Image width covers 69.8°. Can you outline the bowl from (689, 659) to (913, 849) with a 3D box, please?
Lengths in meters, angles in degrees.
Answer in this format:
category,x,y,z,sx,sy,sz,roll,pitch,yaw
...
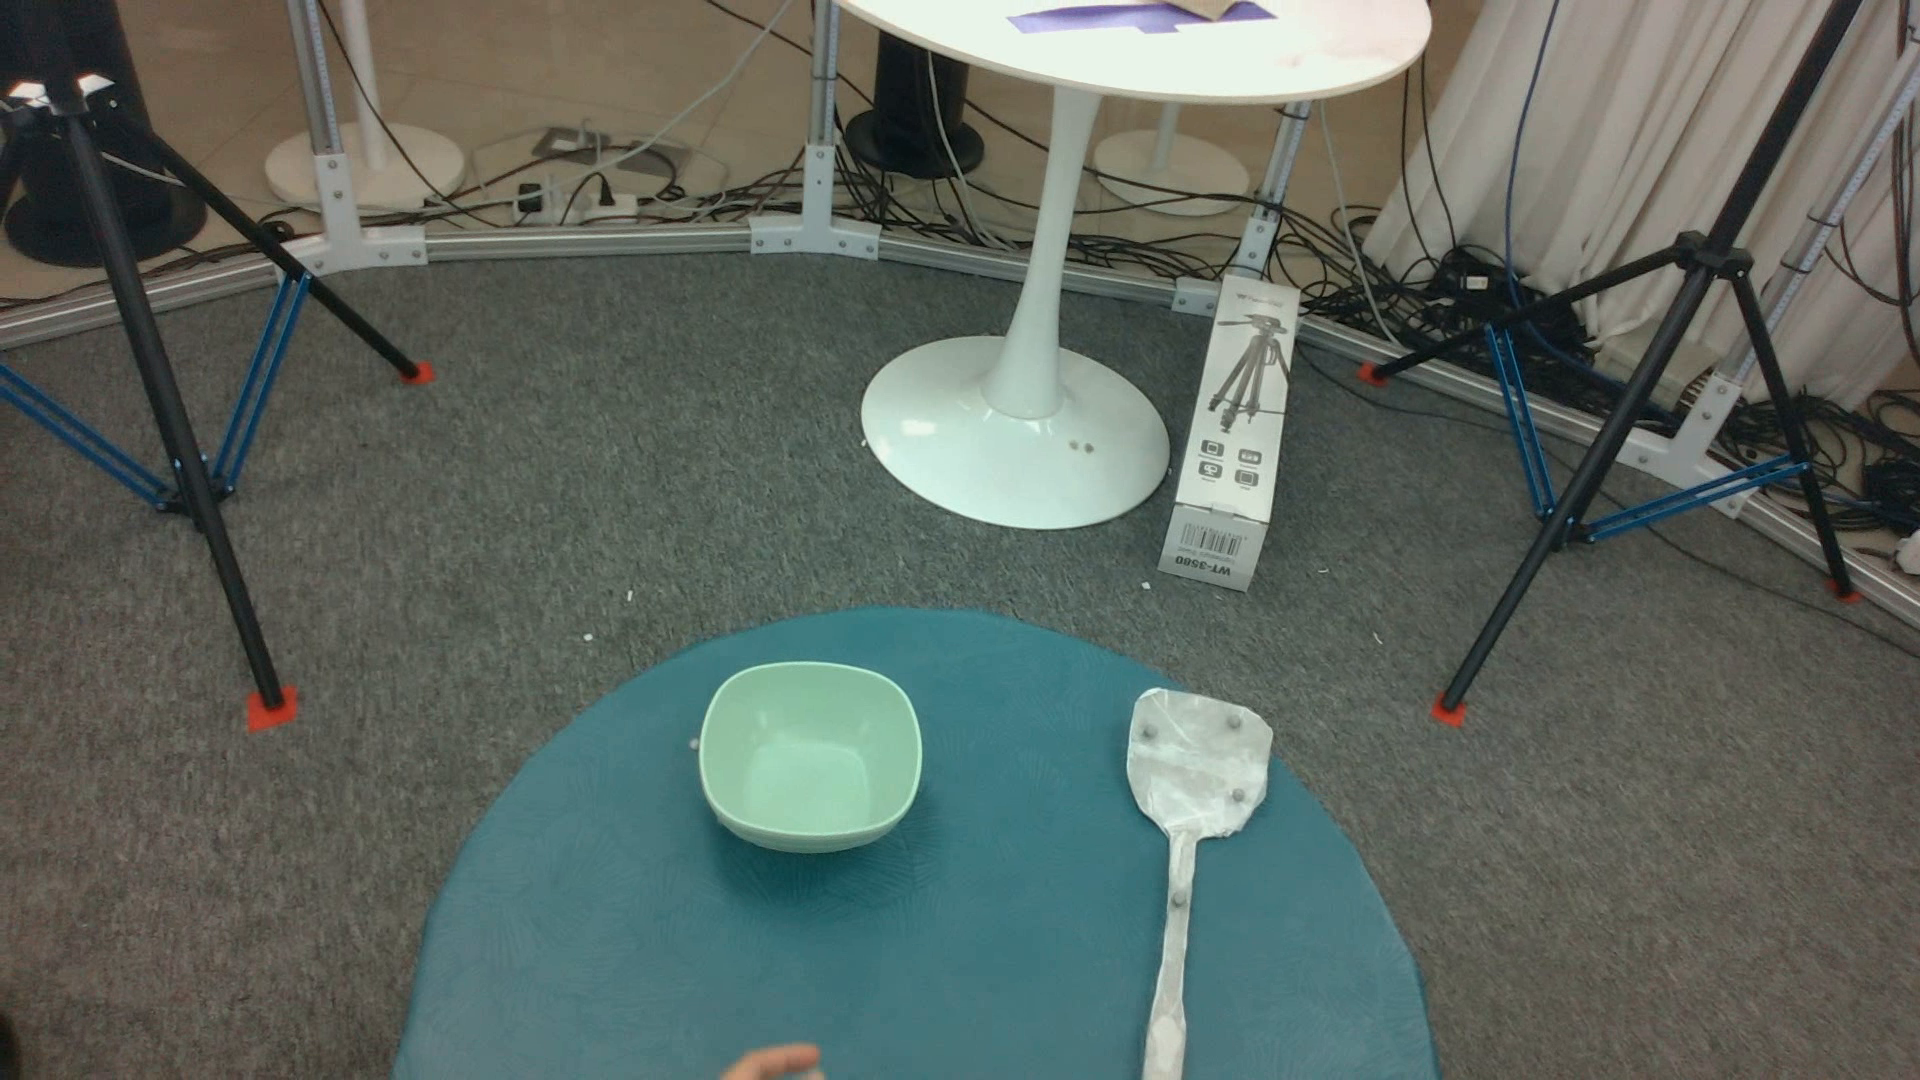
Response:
category,x,y,z,sx,sy,sz,roll,pitch,yaw
bowl,-0.101,0.145,0.878,0.151,0.058,0.152,4,41,-3

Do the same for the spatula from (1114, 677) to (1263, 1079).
category,x,y,z,sx,sy,sz,roll,pitch,yaw
spatula,0.124,0.231,0.843,0.098,0.044,0.367,16,41,3
